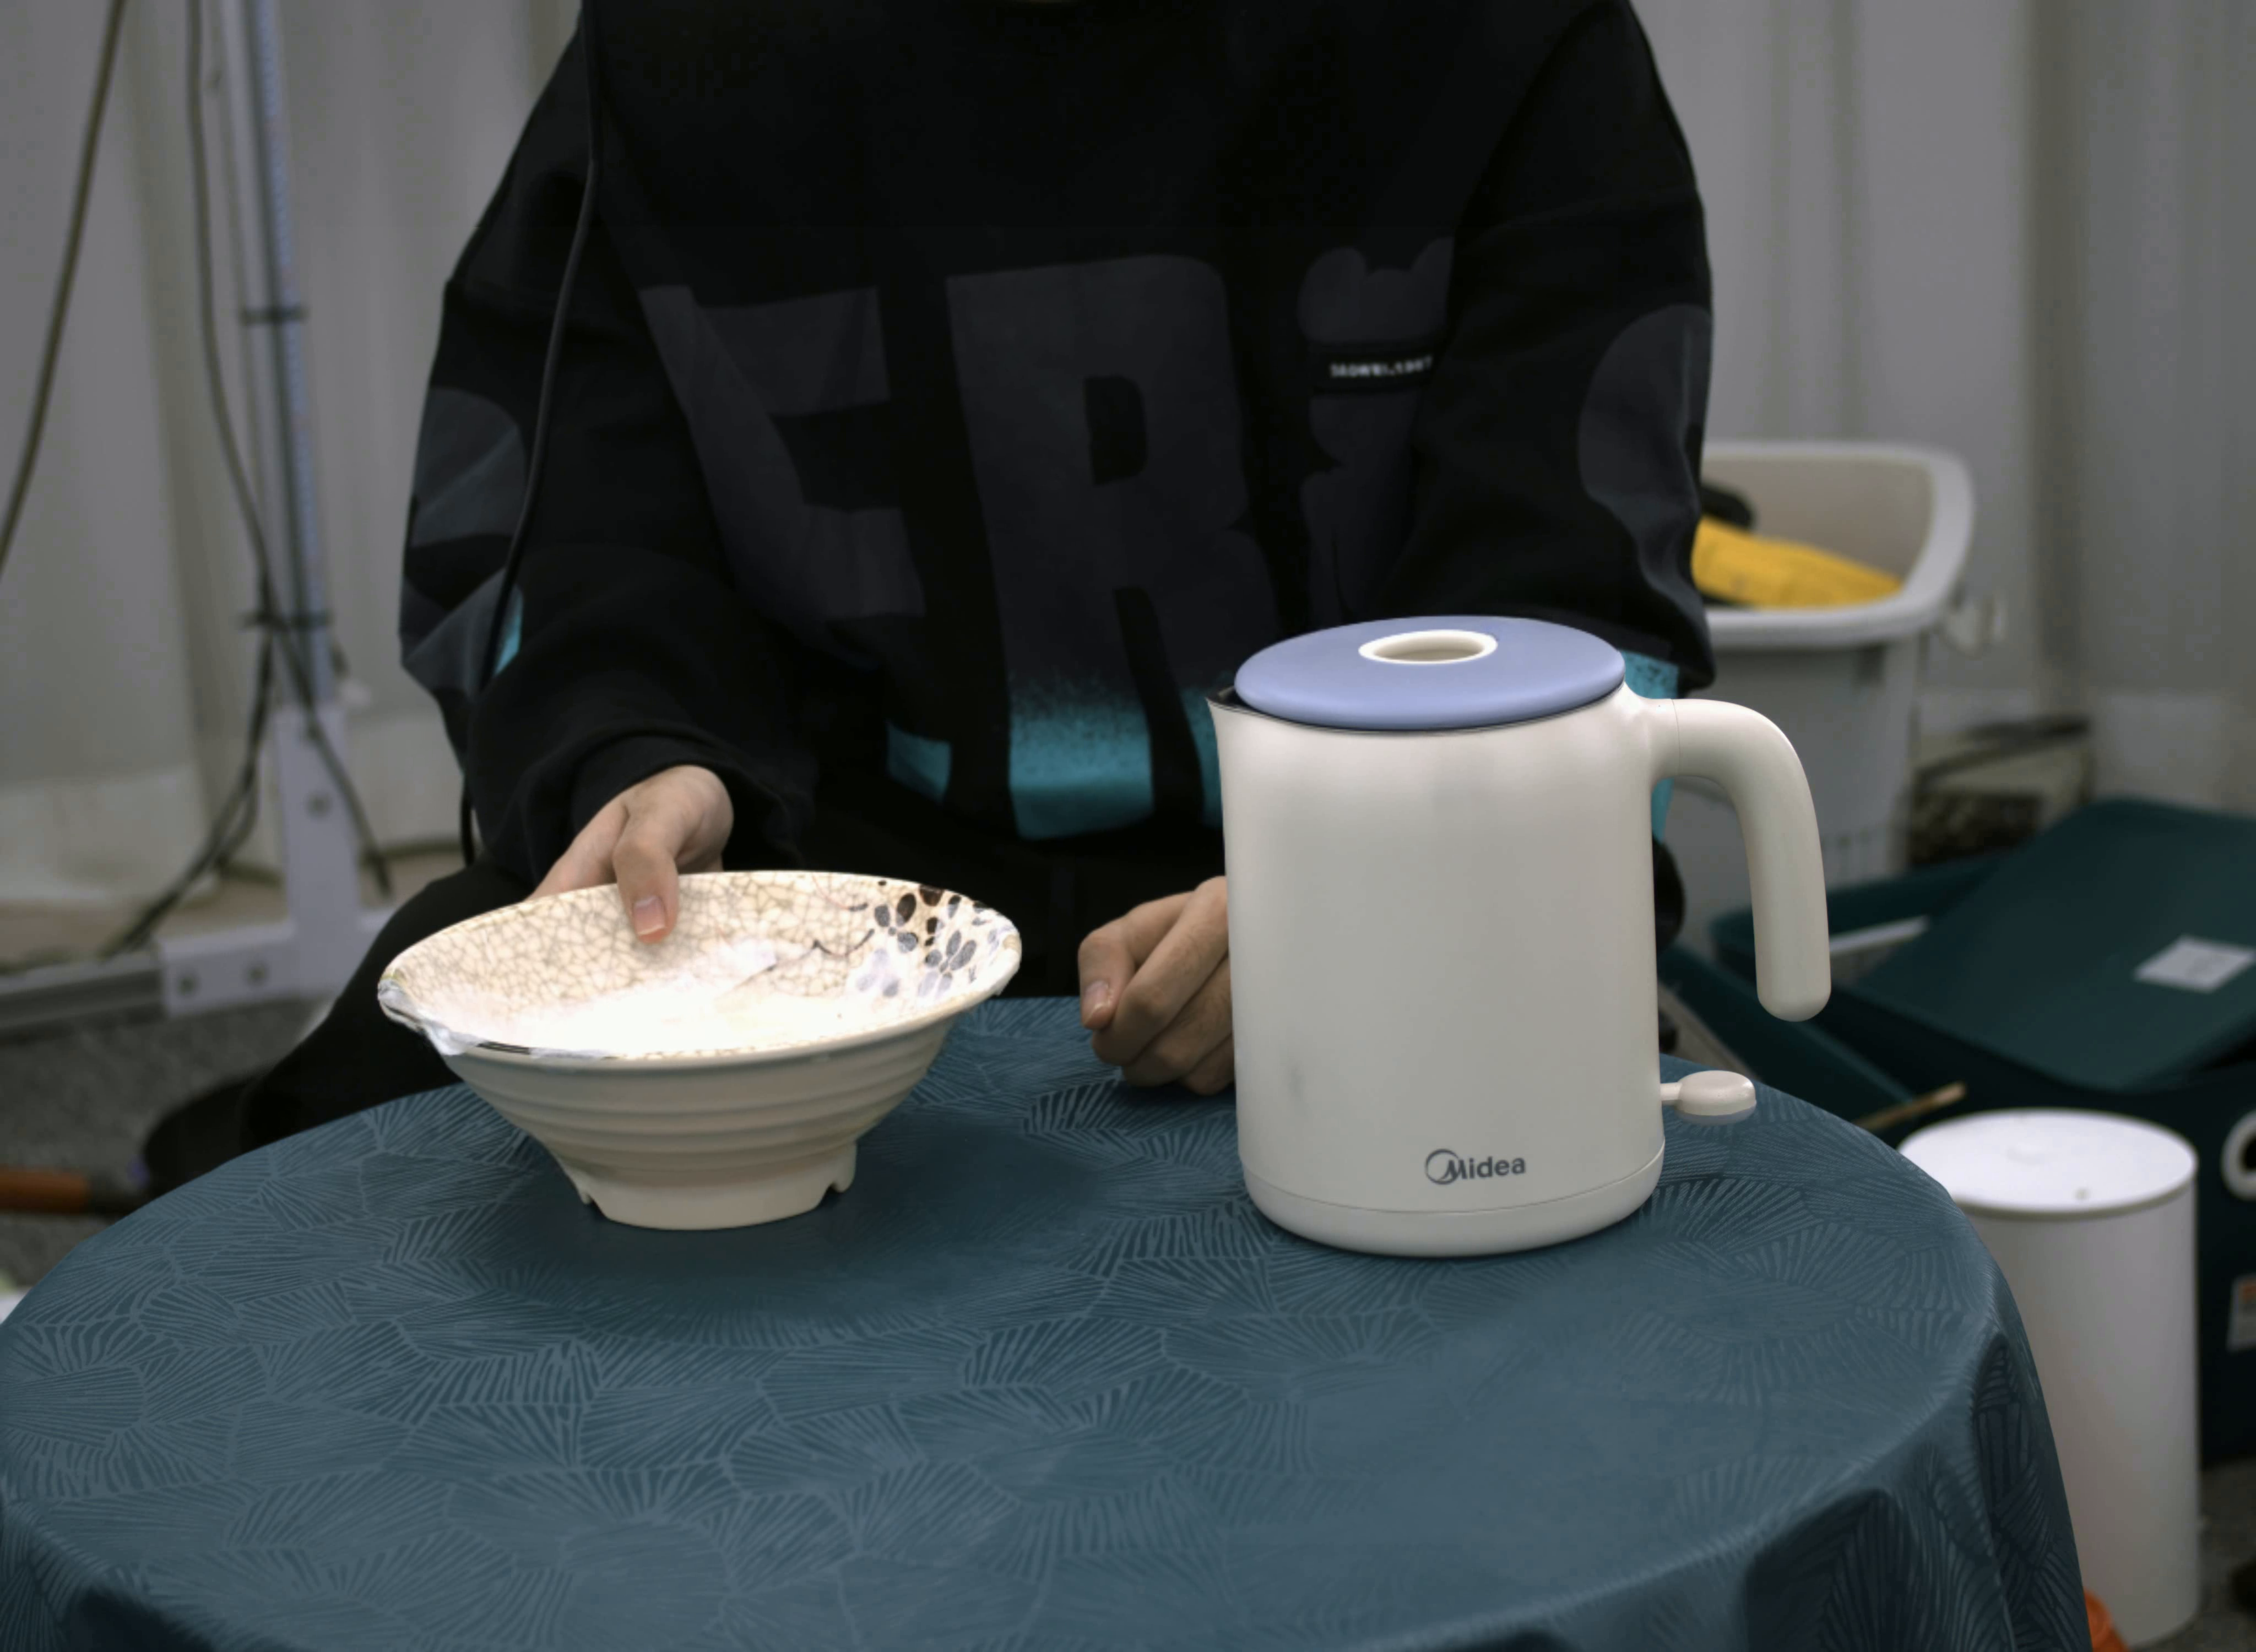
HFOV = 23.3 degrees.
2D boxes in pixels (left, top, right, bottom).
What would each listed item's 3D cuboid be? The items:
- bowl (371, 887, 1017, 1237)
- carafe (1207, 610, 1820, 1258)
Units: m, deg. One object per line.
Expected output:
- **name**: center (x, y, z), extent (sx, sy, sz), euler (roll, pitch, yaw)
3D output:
- **bowl**: center (-0.135, 0.080, 1.728), extent (0.203, 0.078, 0.205), euler (-2, 13, 0)
- **carafe**: center (0.119, 0.031, 1.676), extent (0.190, 0.182, 0.133), euler (-2, 15, -5)
